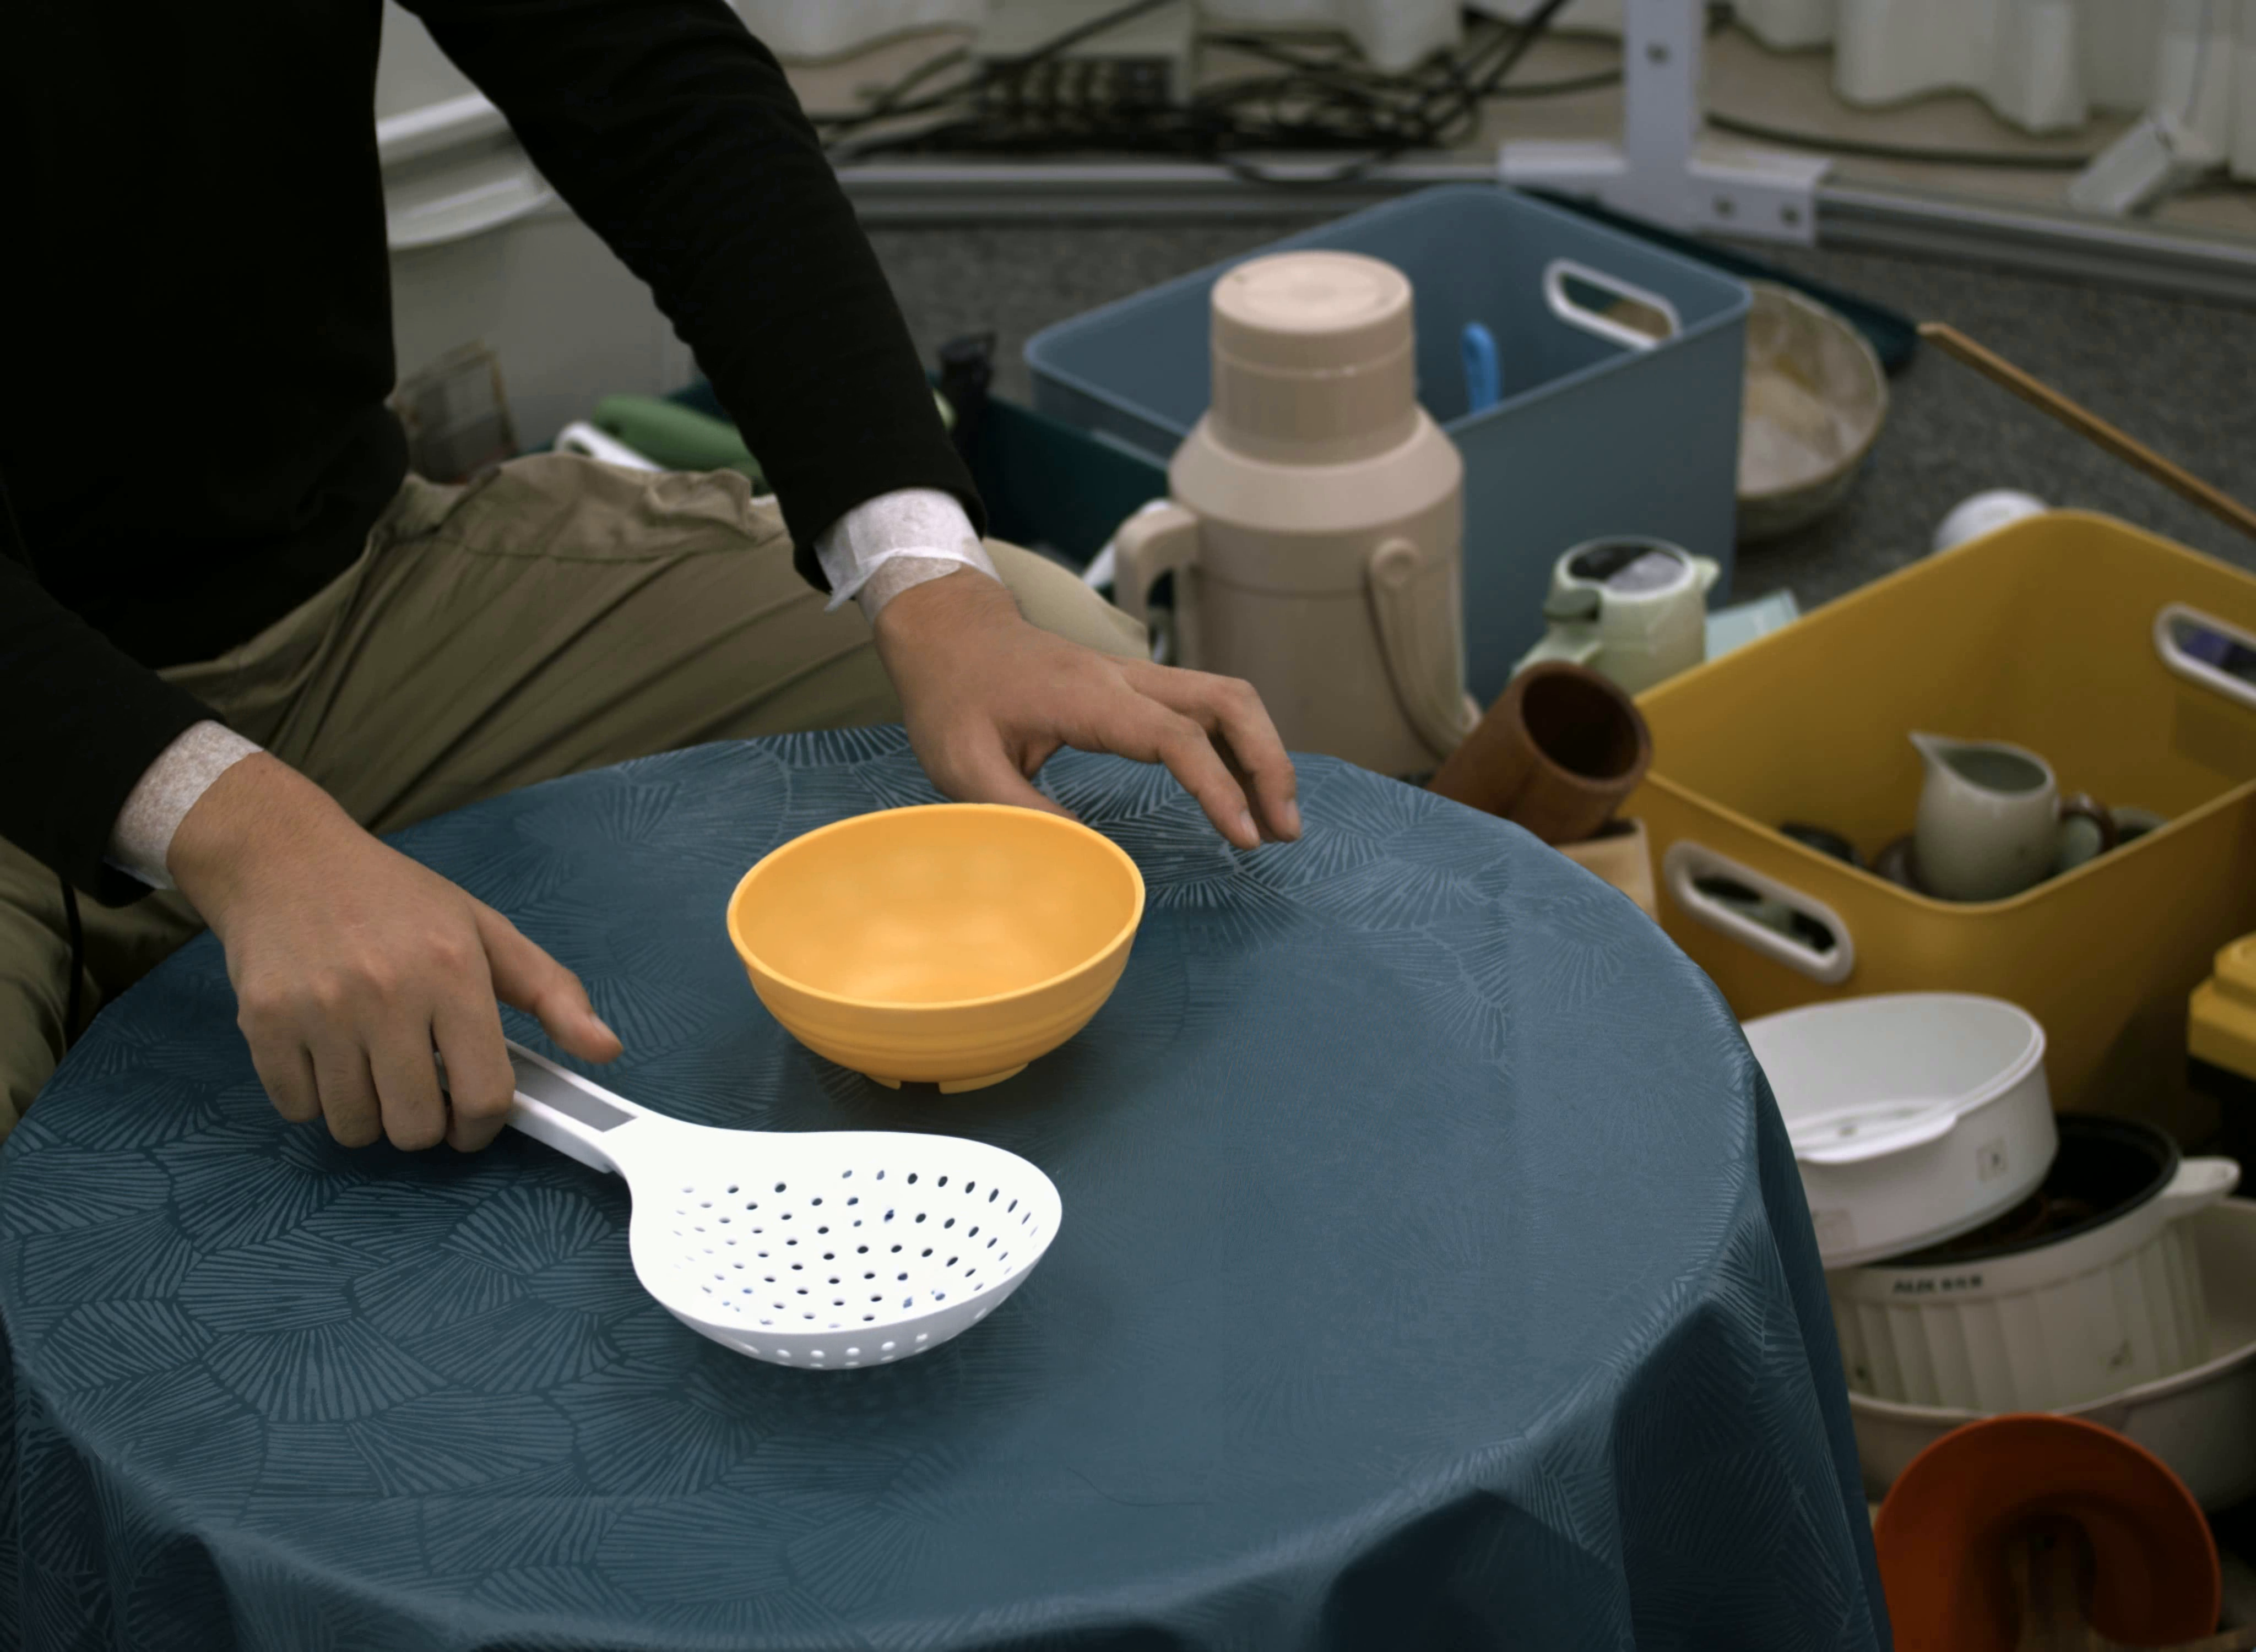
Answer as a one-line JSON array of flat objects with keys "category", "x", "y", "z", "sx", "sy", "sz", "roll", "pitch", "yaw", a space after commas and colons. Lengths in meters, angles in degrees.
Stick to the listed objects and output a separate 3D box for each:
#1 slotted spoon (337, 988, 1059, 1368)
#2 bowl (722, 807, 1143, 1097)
[{"category": "slotted spoon", "x": -0.158, "y": 0.108, "z": 1.853, "sx": 0.137, "sy": 0.045, "sz": 0.349, "roll": -22, "pitch": 32, "yaw": -35}, {"category": "bowl", "x": -0.067, "y": 0.053, "z": 1.941, "sx": 0.144, "sy": 0.059, "sz": 0.147, "roll": 0, "pitch": 27, "yaw": 1}]
